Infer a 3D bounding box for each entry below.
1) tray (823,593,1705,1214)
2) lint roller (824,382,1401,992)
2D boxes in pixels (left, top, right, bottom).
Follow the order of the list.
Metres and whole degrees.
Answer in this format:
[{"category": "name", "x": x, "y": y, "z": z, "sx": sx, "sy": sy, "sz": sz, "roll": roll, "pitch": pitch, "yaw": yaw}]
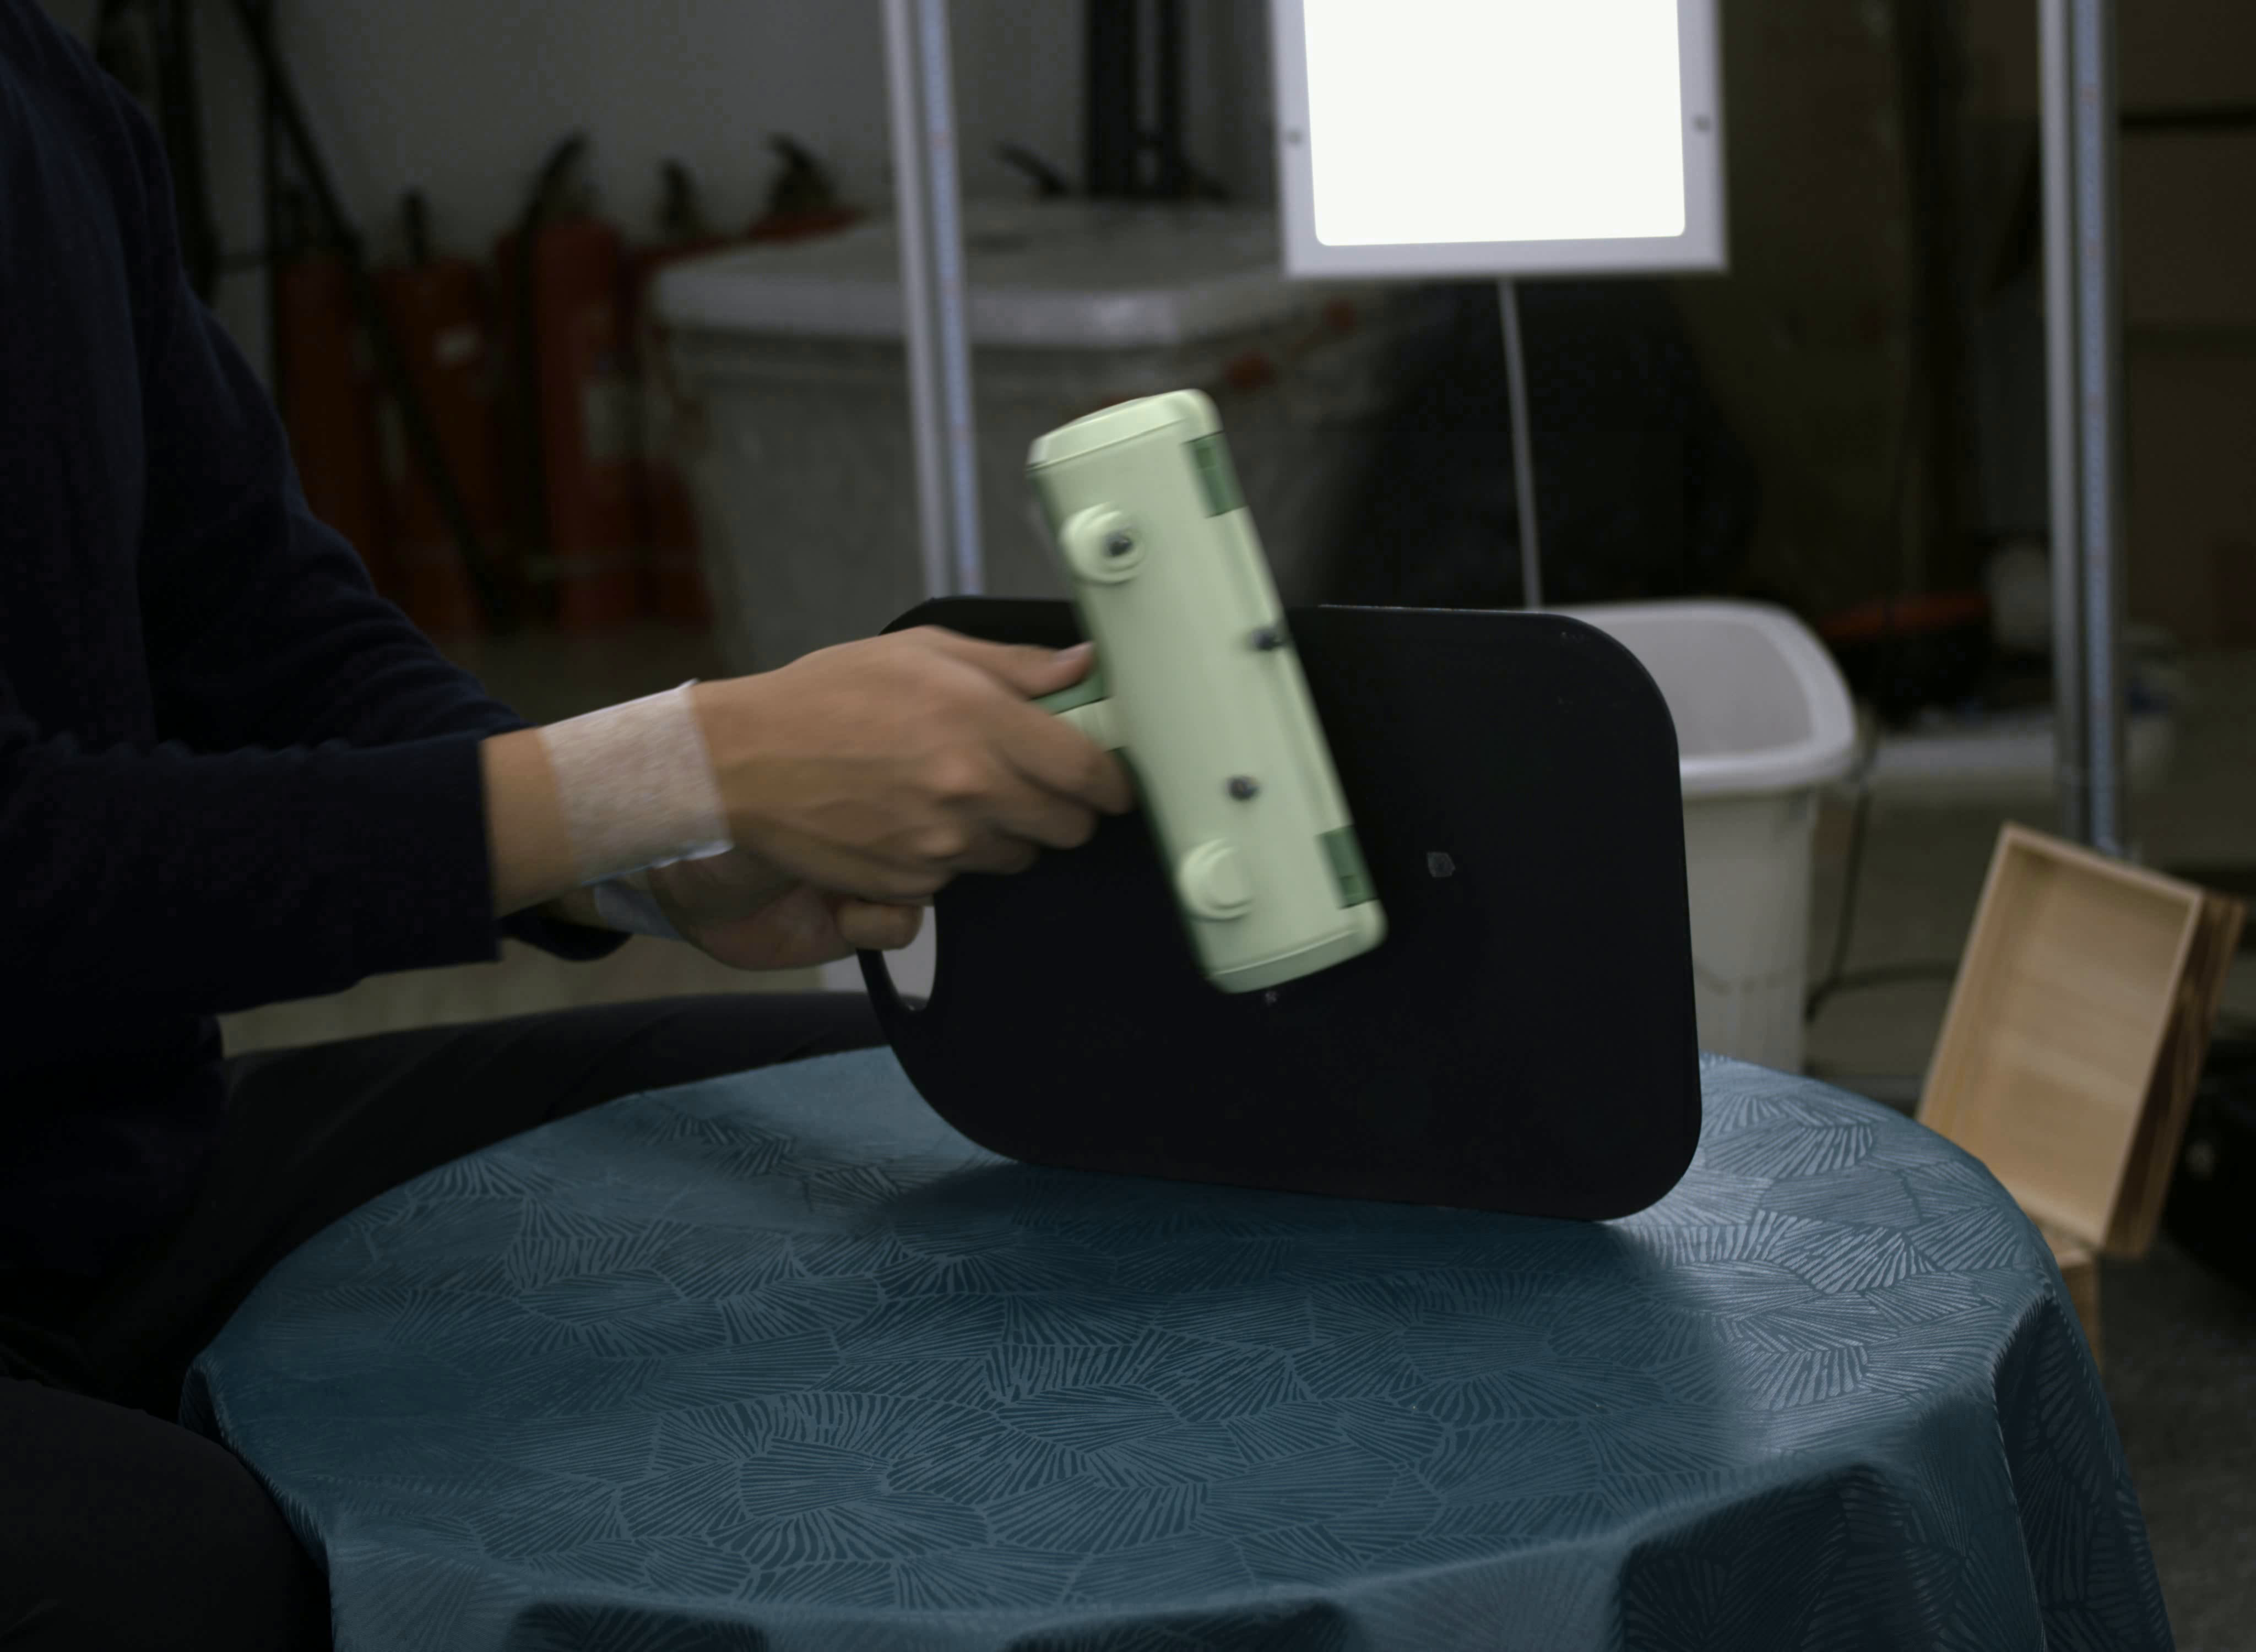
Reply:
[{"category": "tray", "x": 0.039, "y": 0.024, "z": 1.855, "sx": 0.331, "sy": 0.212, "sz": 0.009, "roll": 2, "pitch": 18, "yaw": 29}, {"category": "lint roller", "x": -0.023, "y": -0.027, "z": 1.811, "sx": 0.185, "sy": 0.199, "sz": 0.081, "roll": -18, "pitch": 4, "yaw": 15}]
